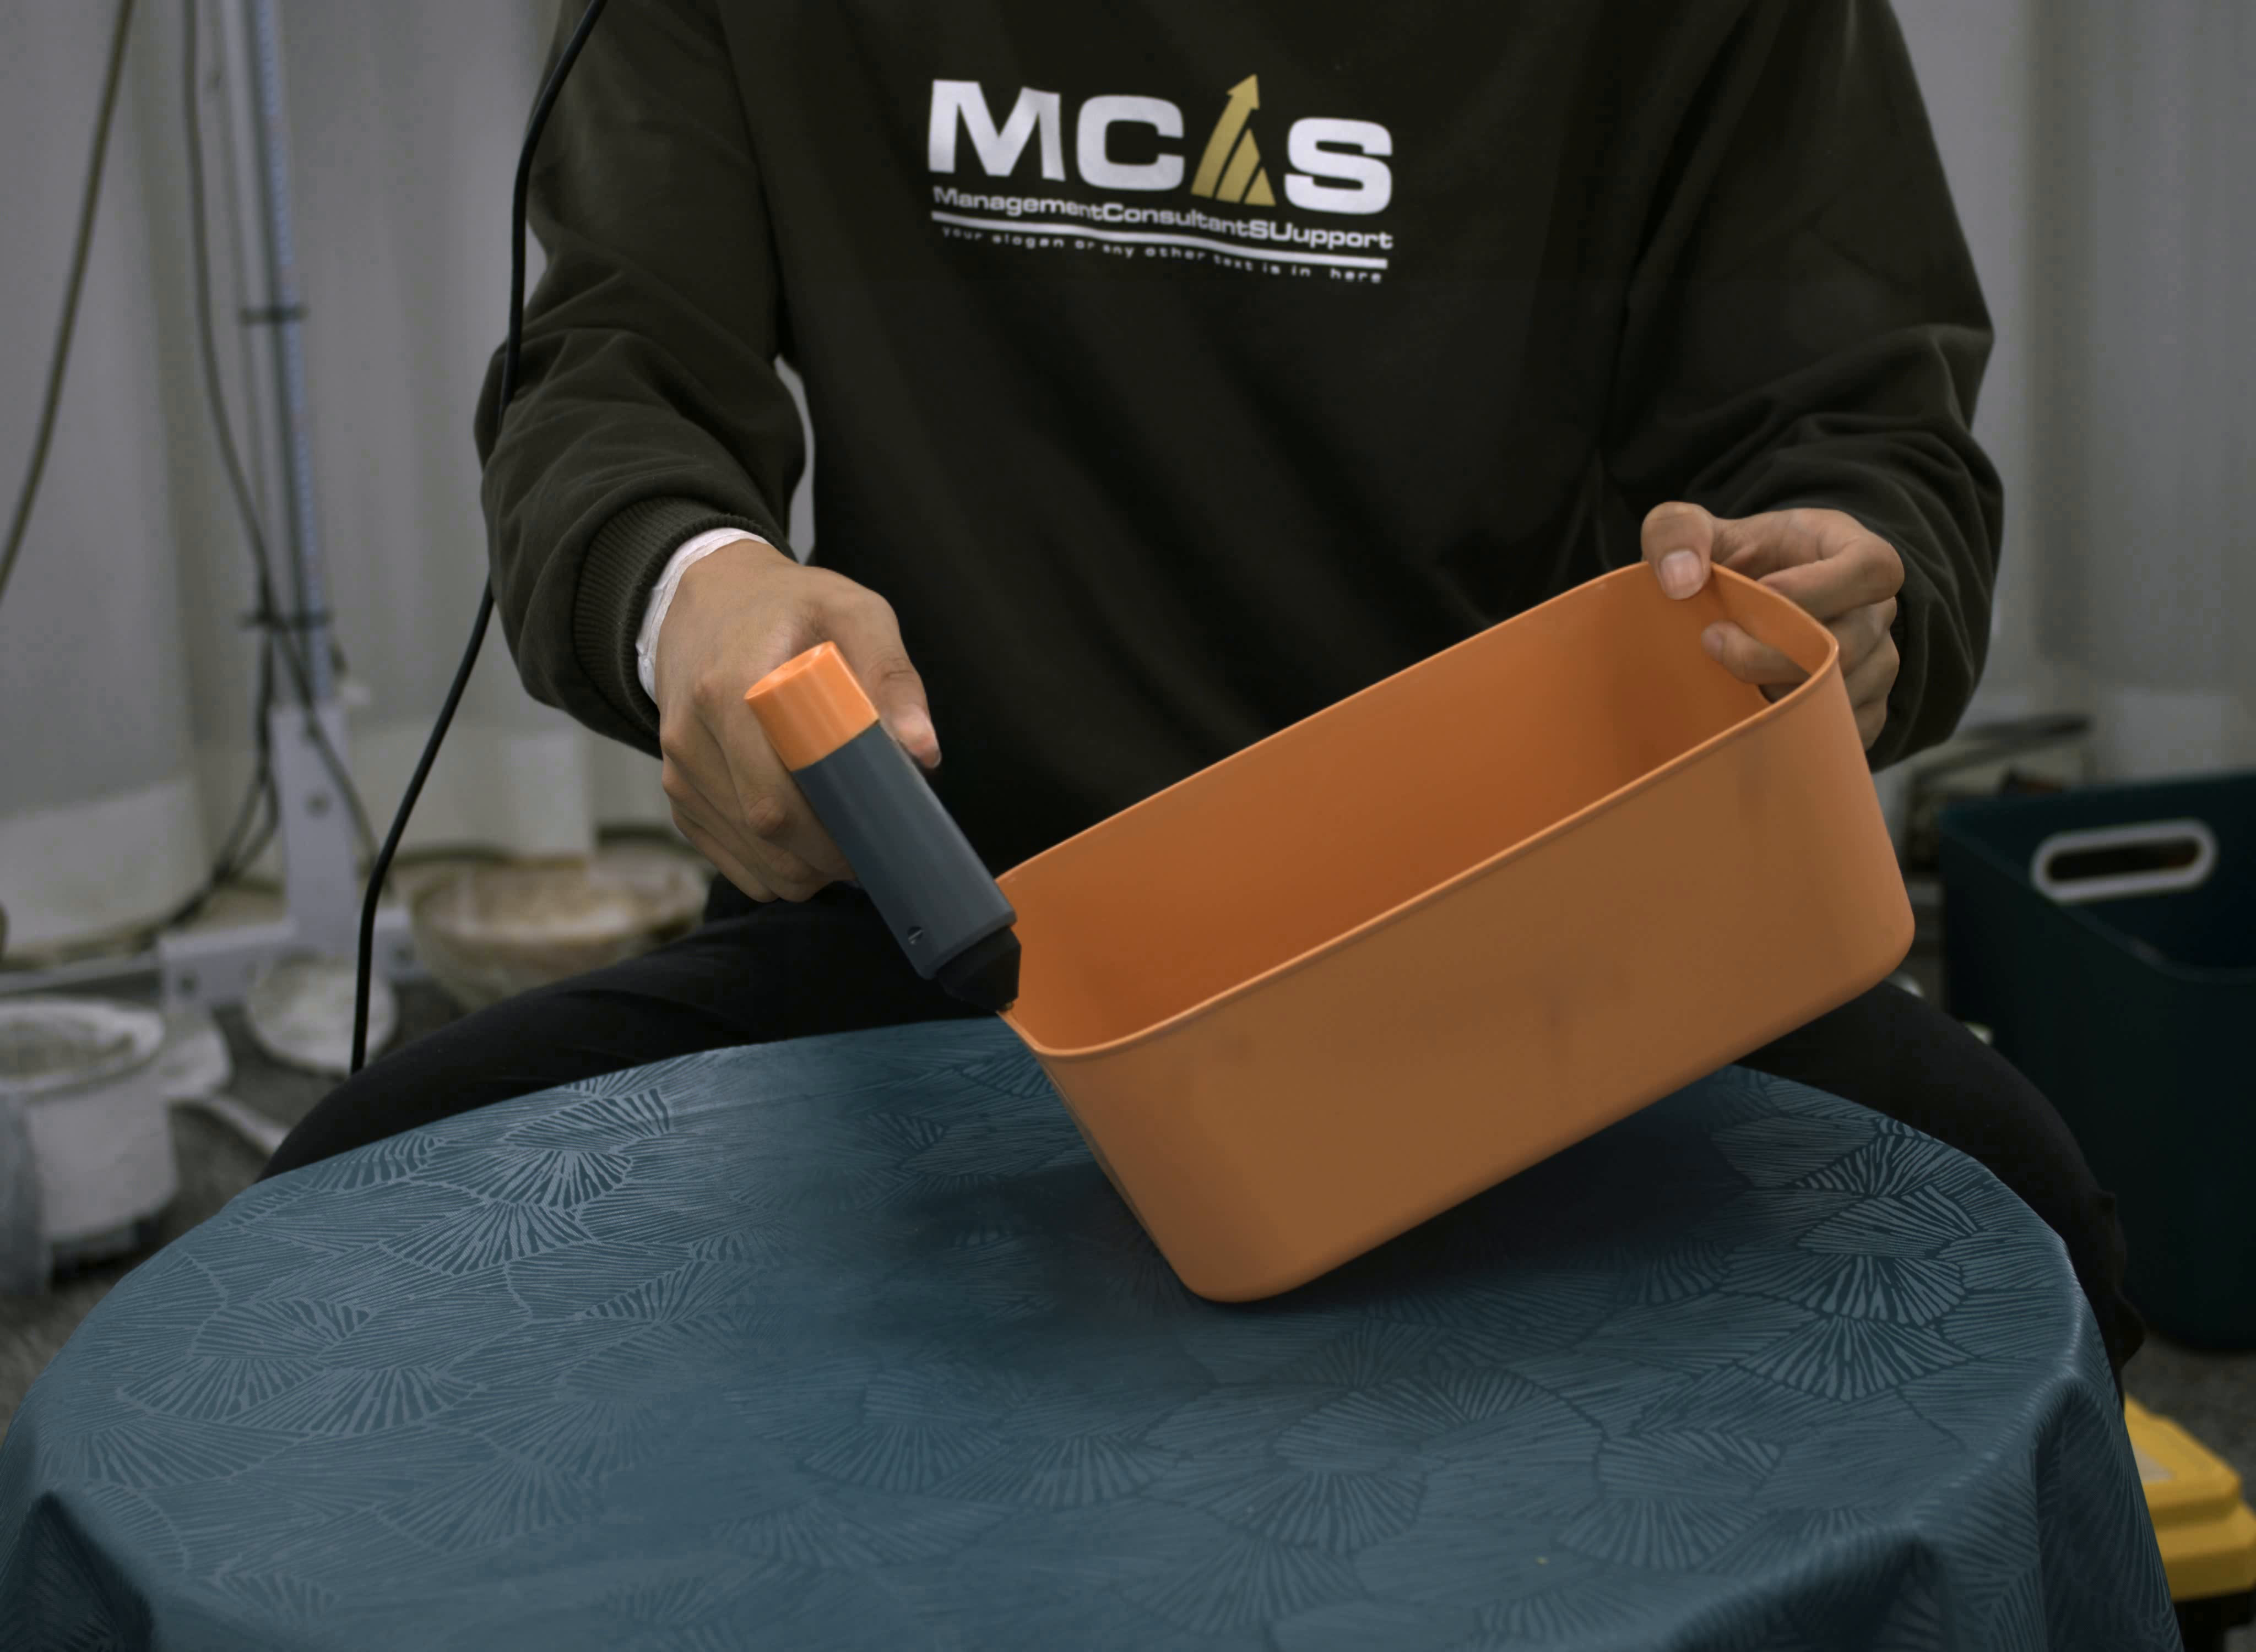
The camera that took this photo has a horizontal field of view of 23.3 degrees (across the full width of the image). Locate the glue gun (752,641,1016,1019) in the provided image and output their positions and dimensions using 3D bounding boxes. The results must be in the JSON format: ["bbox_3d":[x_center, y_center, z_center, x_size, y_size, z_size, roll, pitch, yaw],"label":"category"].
[{"bbox_3d":[-0.075,-0.001,1.672,0.041,0.117,0.140,-30,10,-4],"label":"glue gun"}]

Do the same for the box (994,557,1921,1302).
[{"bbox_3d":[0.098,0.032,1.672,0.273,0.102,0.201,-27,17,-6],"label":"box"}]
